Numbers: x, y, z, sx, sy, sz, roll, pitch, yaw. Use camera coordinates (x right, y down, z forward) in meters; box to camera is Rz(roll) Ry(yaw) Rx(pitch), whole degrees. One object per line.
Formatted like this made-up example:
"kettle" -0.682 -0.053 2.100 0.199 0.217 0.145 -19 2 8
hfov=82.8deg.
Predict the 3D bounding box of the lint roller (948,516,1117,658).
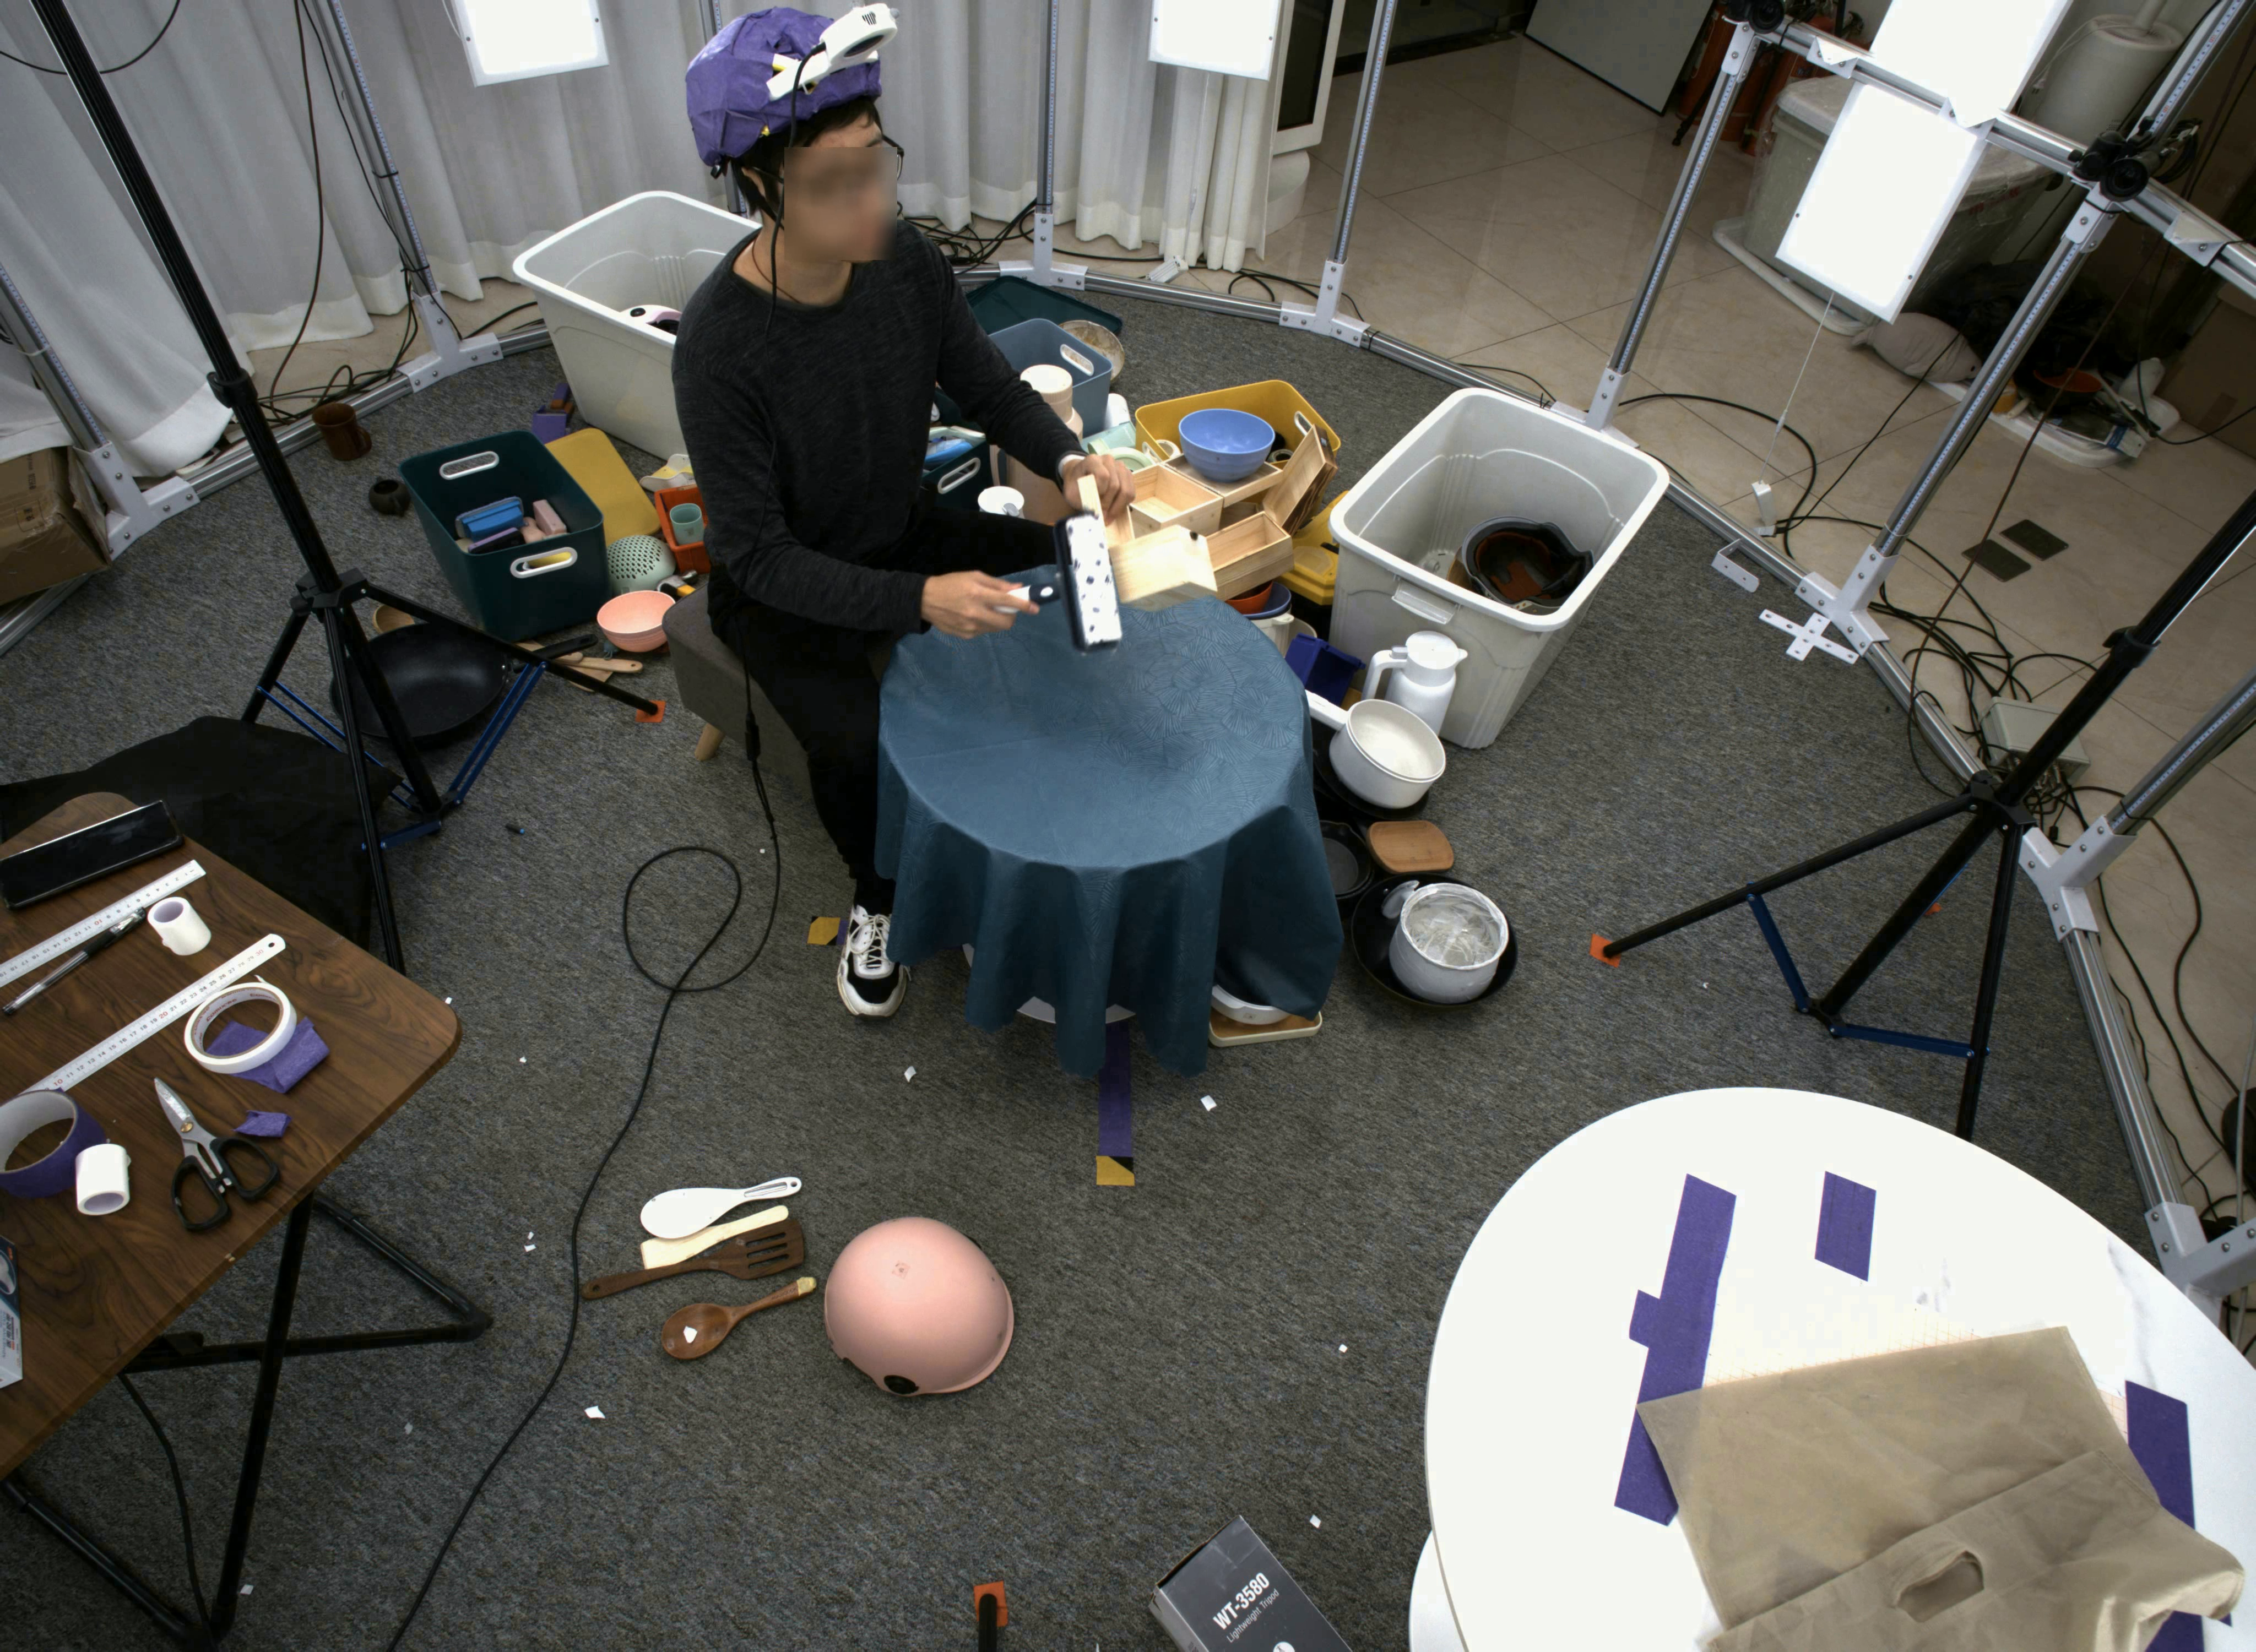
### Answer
"lint roller" -0.137 -0.293 1.692 0.247 0.176 0.050 -8 2 27

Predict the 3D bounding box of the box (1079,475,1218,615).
"box" 0.030 -0.388 1.723 0.133 0.102 0.185 -15 84 24
